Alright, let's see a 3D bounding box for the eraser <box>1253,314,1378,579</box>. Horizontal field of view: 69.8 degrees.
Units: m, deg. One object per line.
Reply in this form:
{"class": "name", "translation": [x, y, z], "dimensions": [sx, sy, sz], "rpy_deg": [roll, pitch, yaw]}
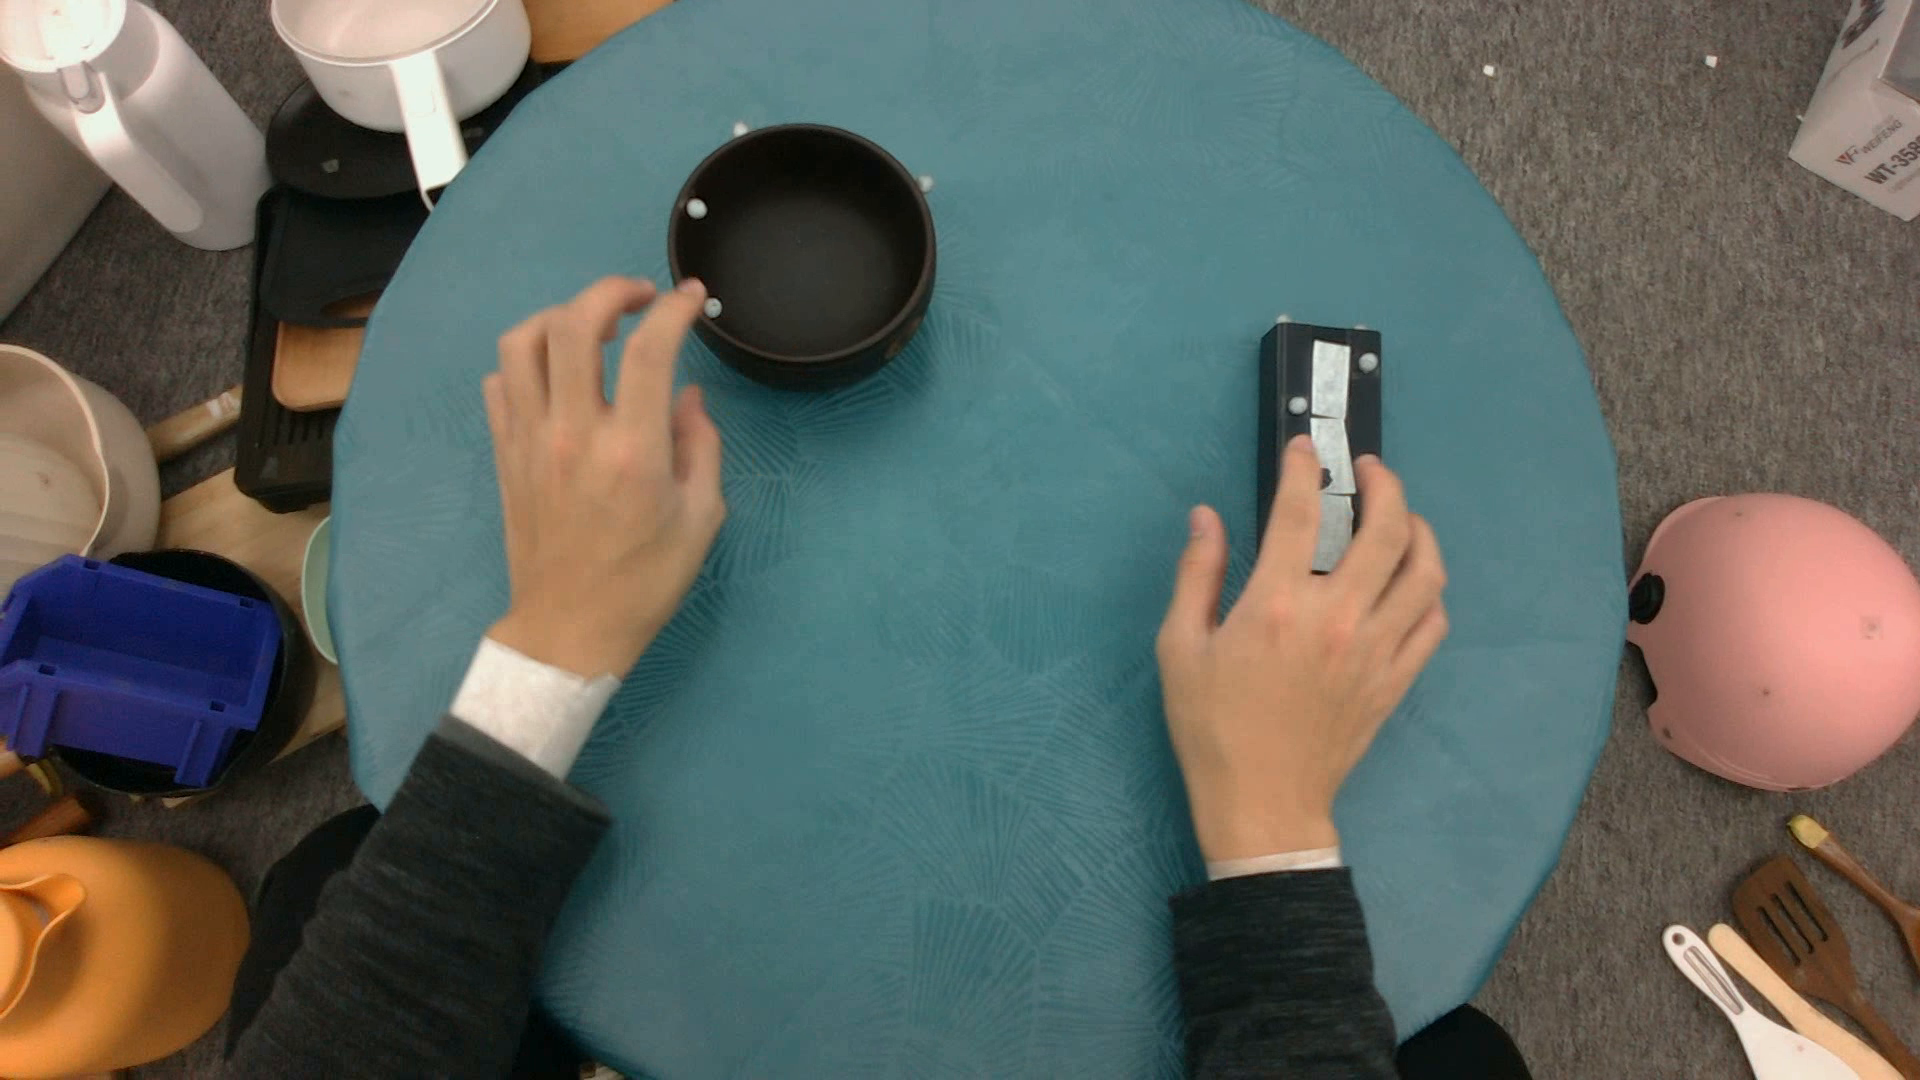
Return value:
{"class": "eraser", "translation": [0.164, -0.045, 0.643], "dimensions": [0.053, 0.030, 0.126], "rpy_deg": [3, 75, -1]}

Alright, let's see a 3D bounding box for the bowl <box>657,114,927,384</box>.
{"class": "bowl", "translation": [-0.075, -0.125, 0.625], "dimensions": [0.118, 0.069, 0.118], "rpy_deg": [1, 76, -5]}
